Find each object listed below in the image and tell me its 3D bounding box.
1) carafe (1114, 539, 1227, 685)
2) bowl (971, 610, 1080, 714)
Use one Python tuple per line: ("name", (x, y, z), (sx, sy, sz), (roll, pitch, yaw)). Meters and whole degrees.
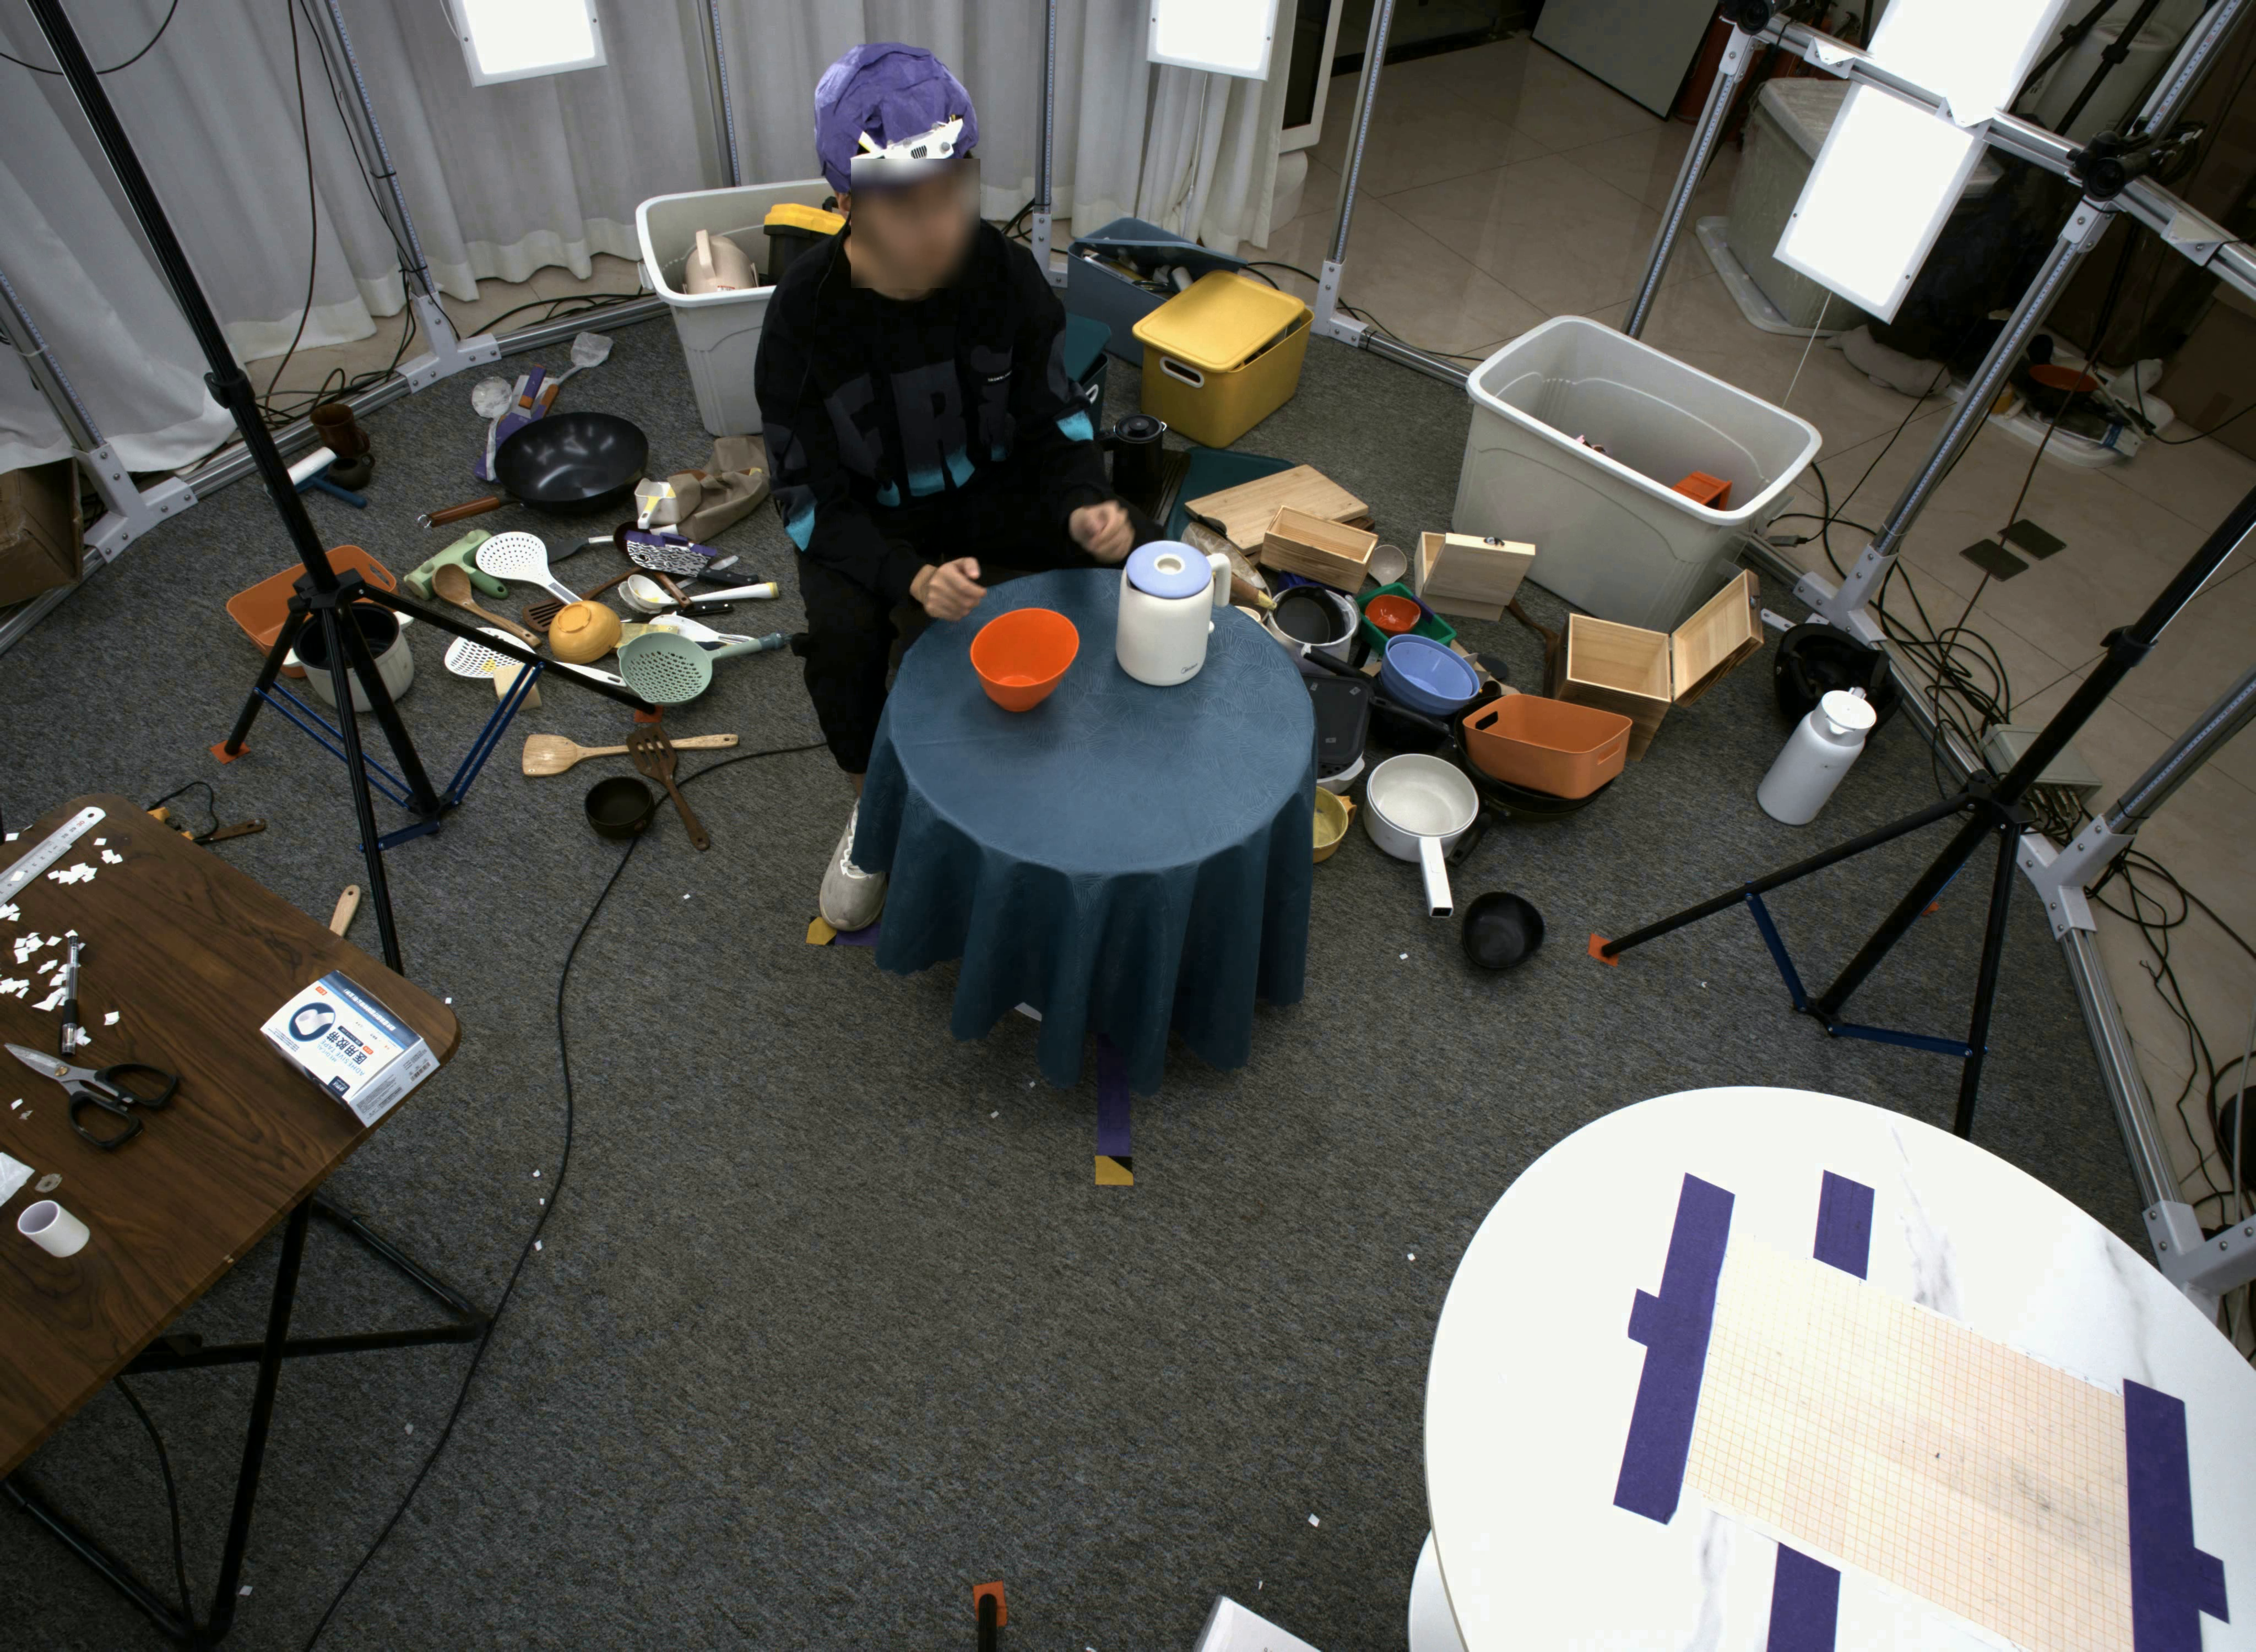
("carafe", (0.069, -0.313, 1.834), (0.192, 0.178, 0.134), (-28, 58, -28))
("bowl", (-0.142, -0.217, 1.782), (0.148, 0.102, 0.152), (2, 49, -3))
